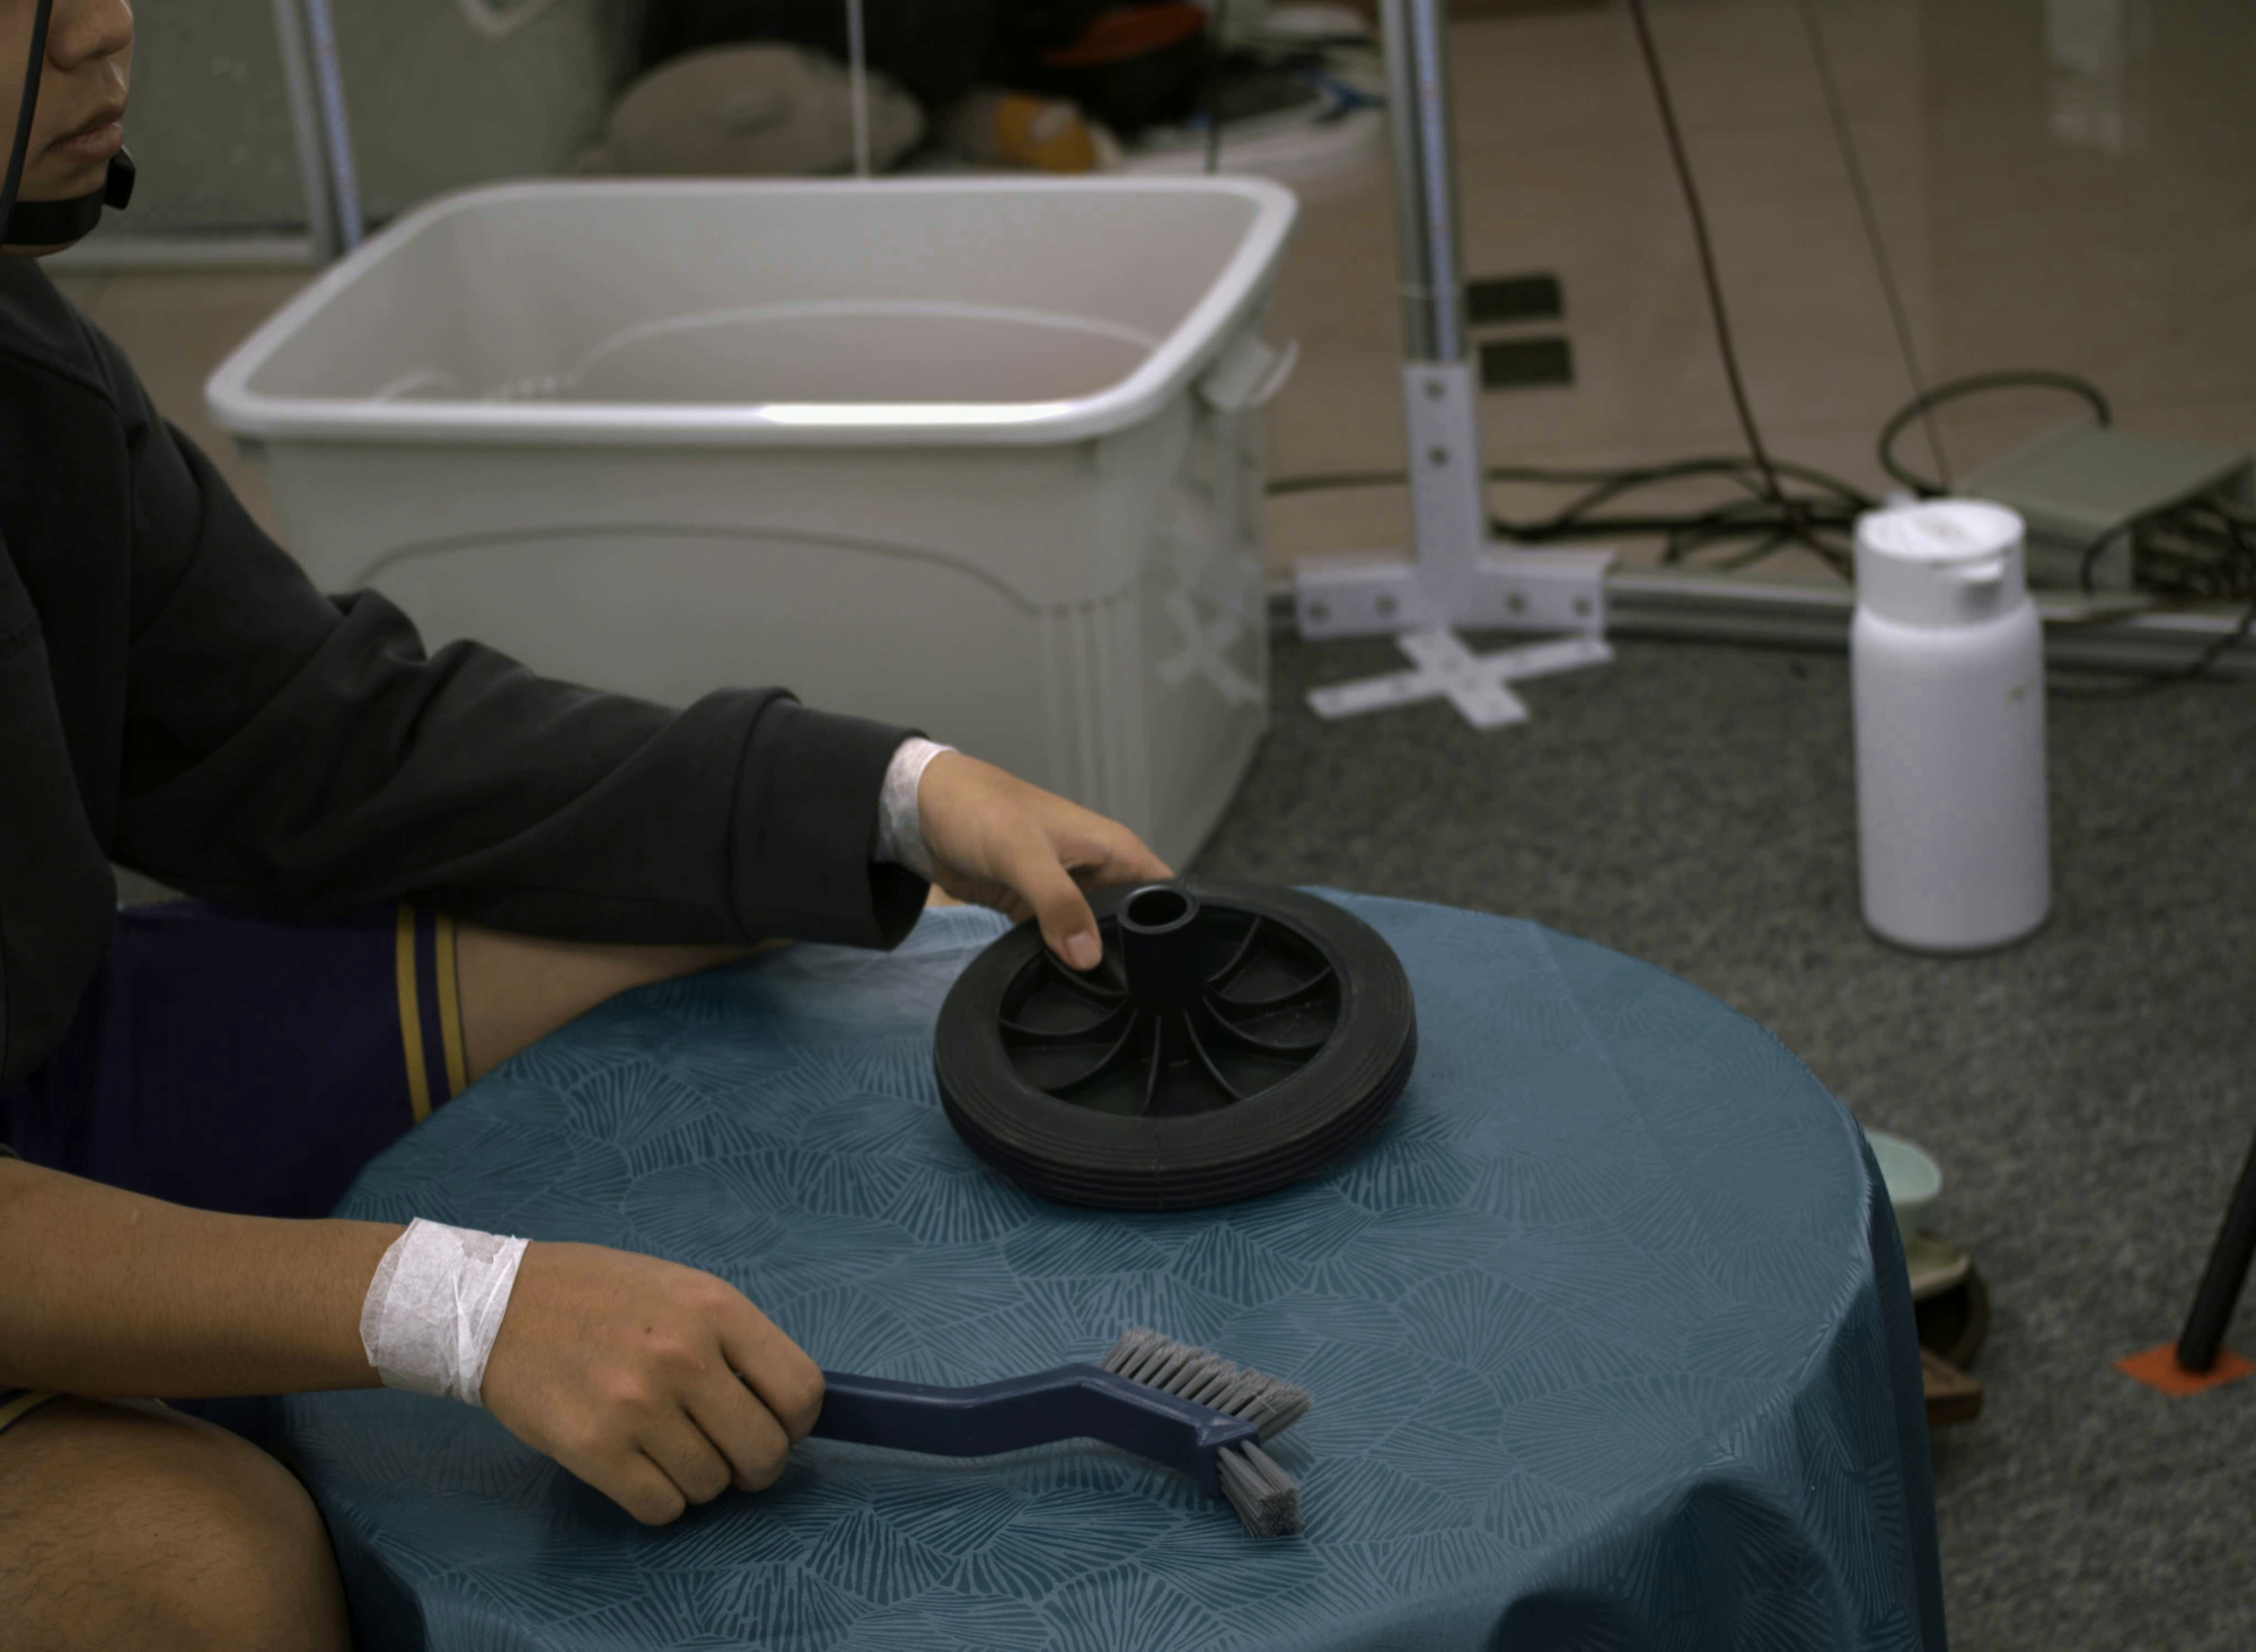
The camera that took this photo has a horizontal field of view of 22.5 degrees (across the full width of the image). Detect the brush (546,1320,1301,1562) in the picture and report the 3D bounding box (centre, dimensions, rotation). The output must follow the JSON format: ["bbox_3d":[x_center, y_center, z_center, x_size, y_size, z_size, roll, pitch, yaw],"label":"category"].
[{"bbox_3d":[-0.076,0.208,1.968,0.272,0.034,0.094,0,39,12],"label":"brush"}]

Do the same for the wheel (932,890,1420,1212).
[{"bbox_3d":[0.016,0.068,2.184,0.188,0.080,0.185,20,44,35],"label":"wheel"}]
